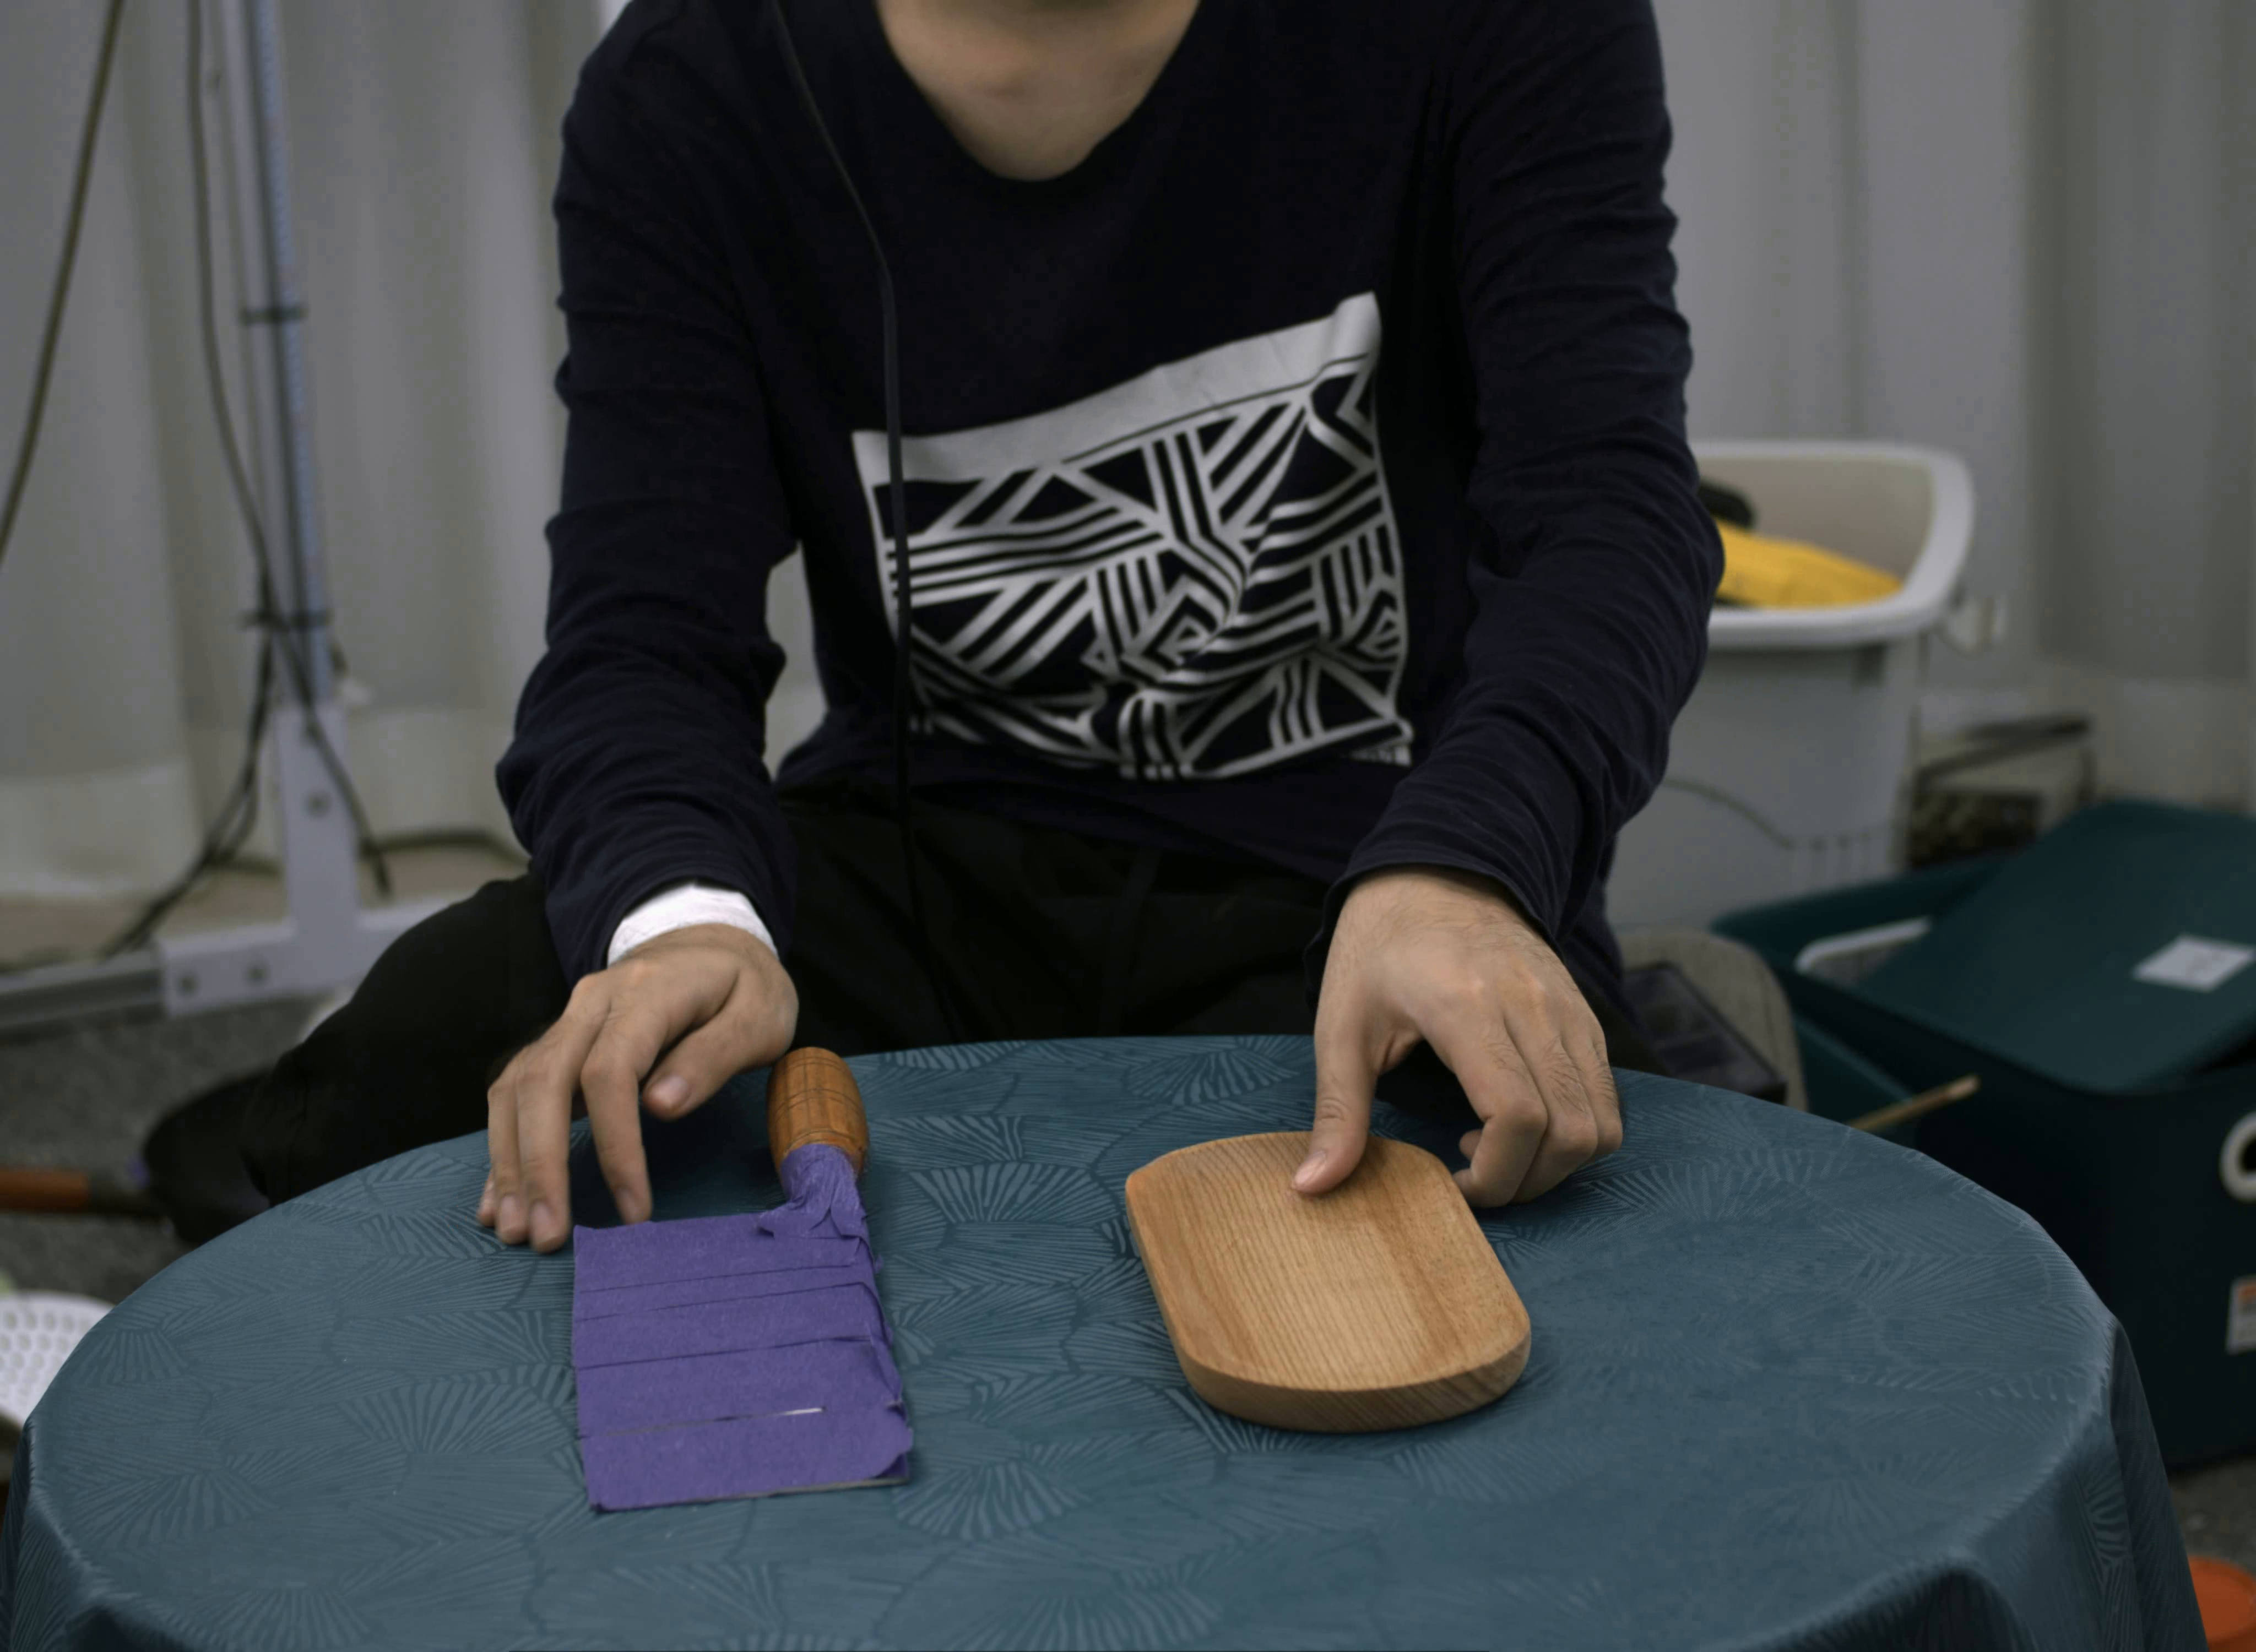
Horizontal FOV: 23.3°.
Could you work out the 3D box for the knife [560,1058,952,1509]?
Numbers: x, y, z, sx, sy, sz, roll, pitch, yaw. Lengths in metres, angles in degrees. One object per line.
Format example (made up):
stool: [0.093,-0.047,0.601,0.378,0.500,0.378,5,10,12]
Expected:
knife: [-0.118,0.132,1.624,0.103,0.032,0.317,-4,15,-6]

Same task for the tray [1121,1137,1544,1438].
tray: [0.058,0.133,1.606,0.101,0.020,0.233,-5,16,-7]
